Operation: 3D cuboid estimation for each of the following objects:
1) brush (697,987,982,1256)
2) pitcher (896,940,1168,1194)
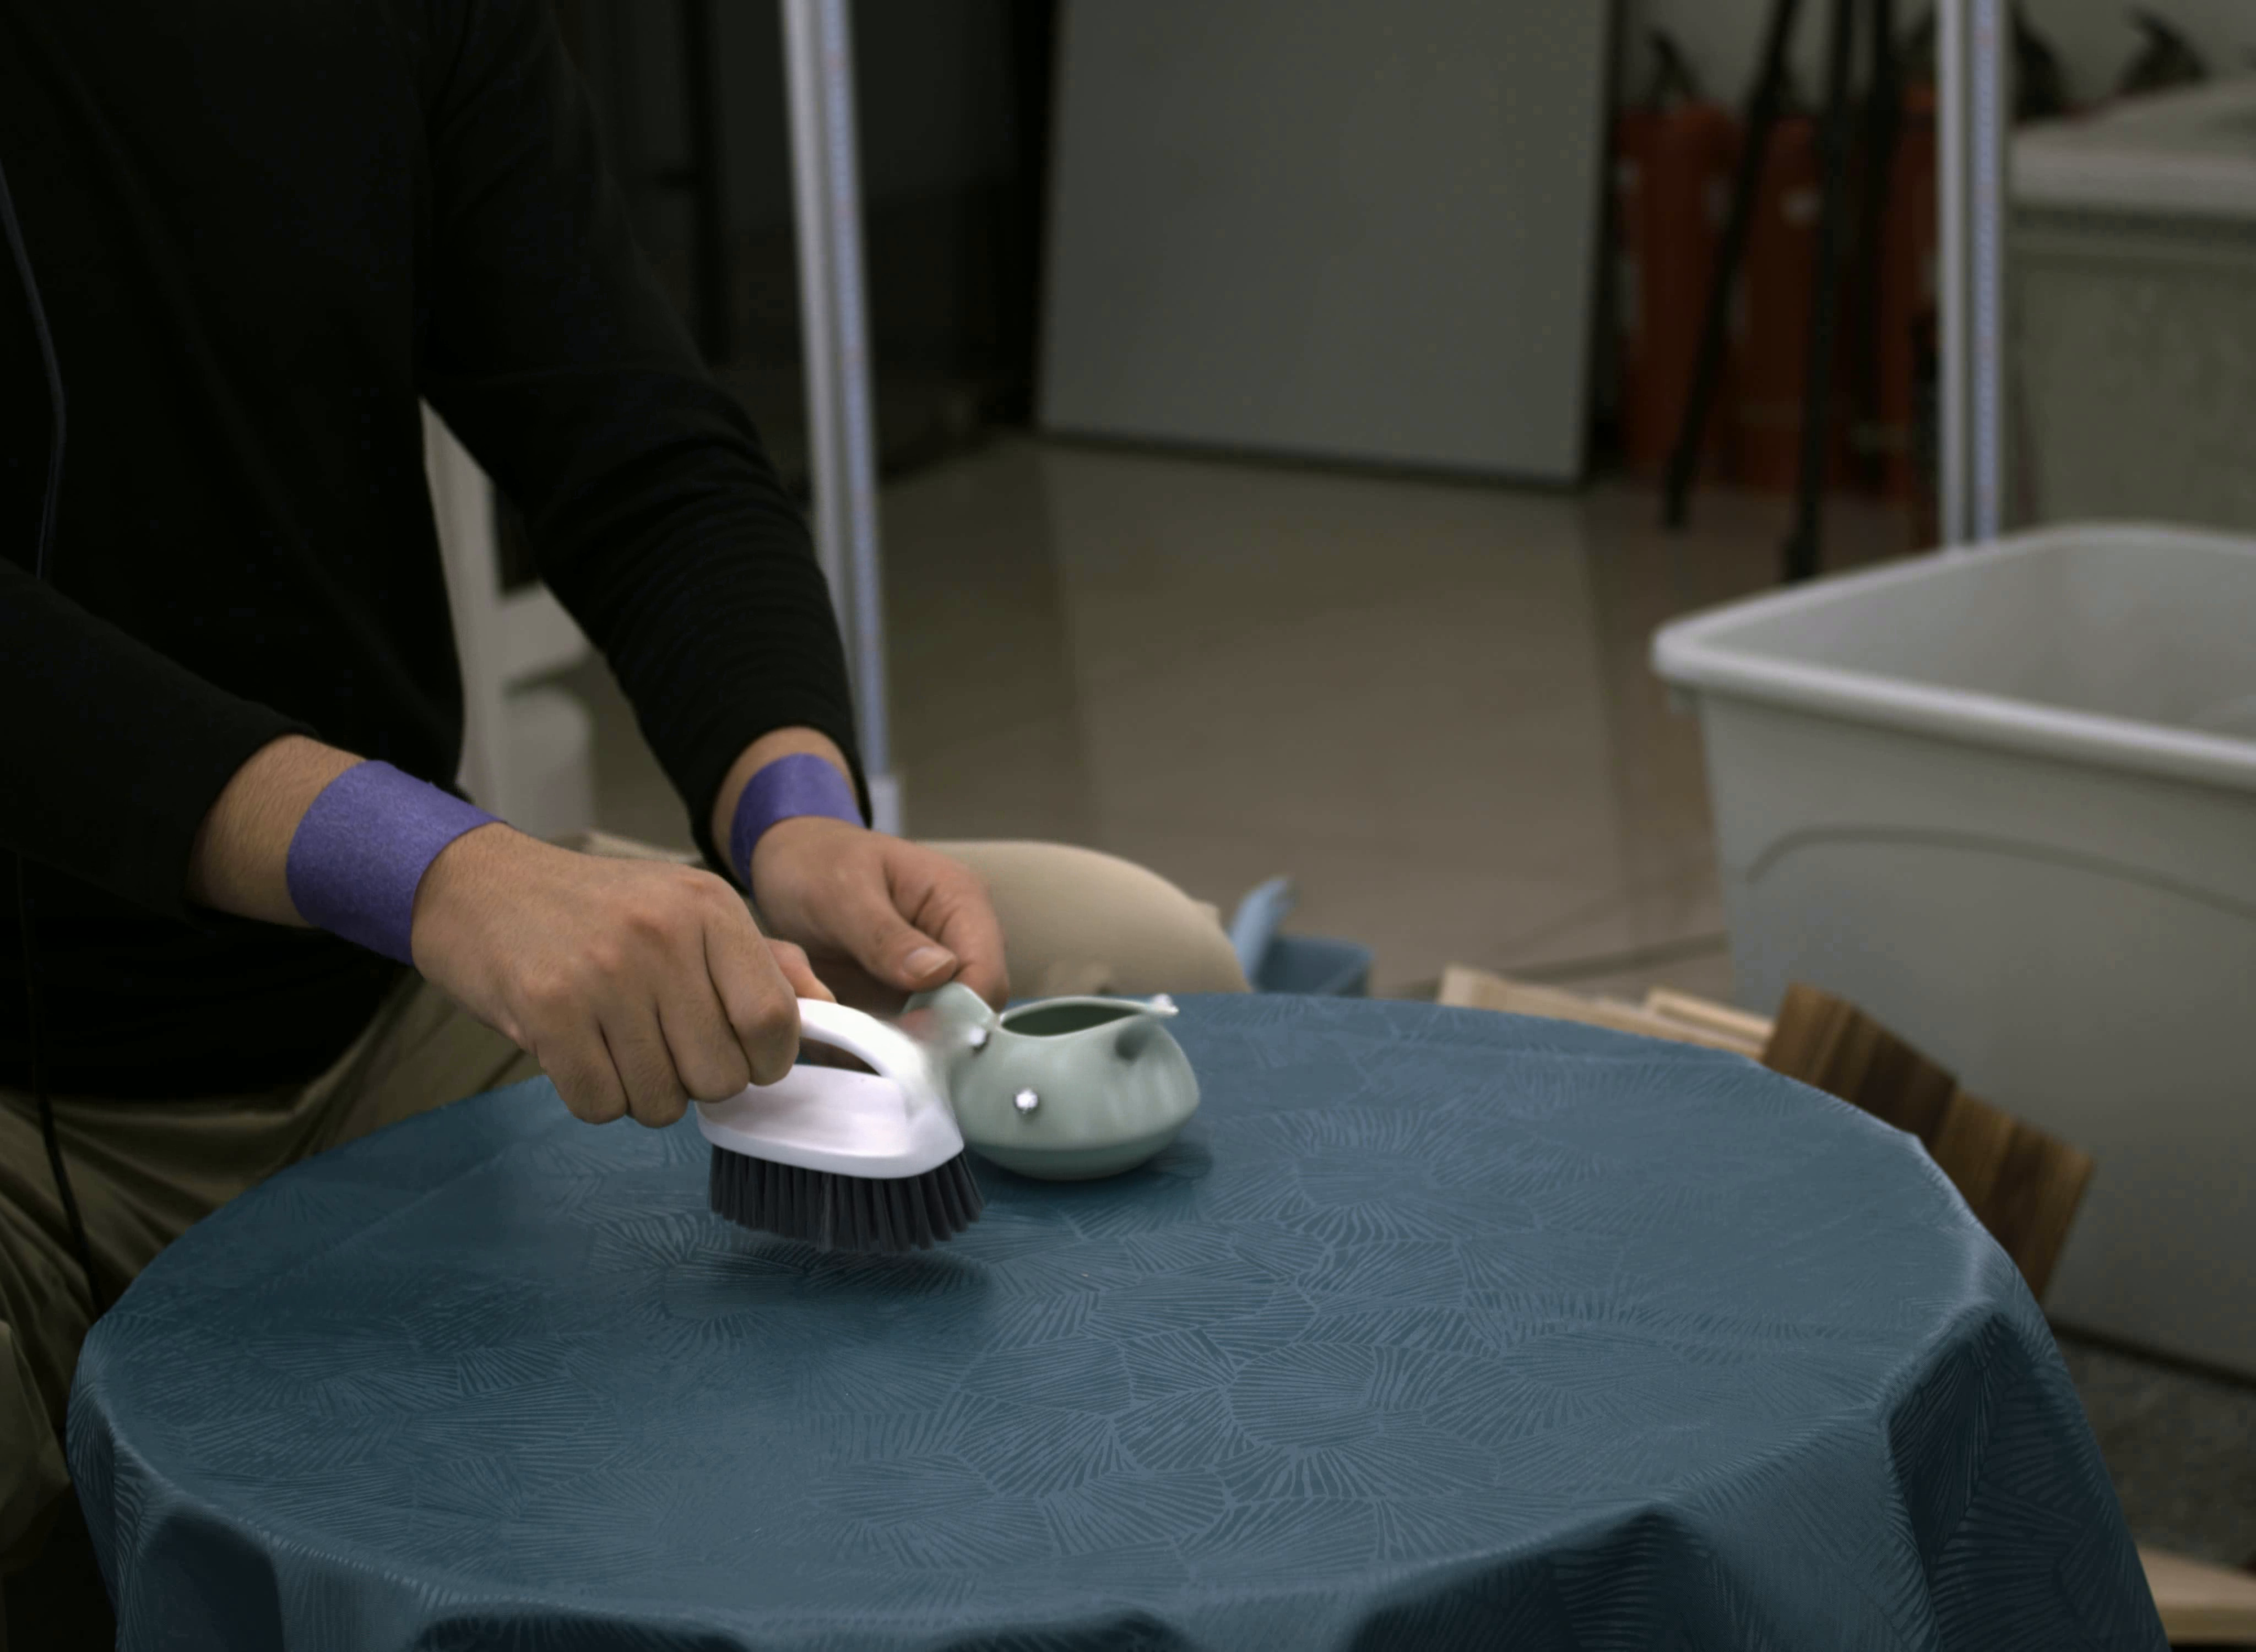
[{"bbox_3d":[-0.094,0.087,1.701,0.100,0.073,0.049,11,31,39],"label":"brush"},{"bbox_3d":[-0.038,0.081,1.809,0.109,0.061,0.084,27,40,34],"label":"pitcher"}]
